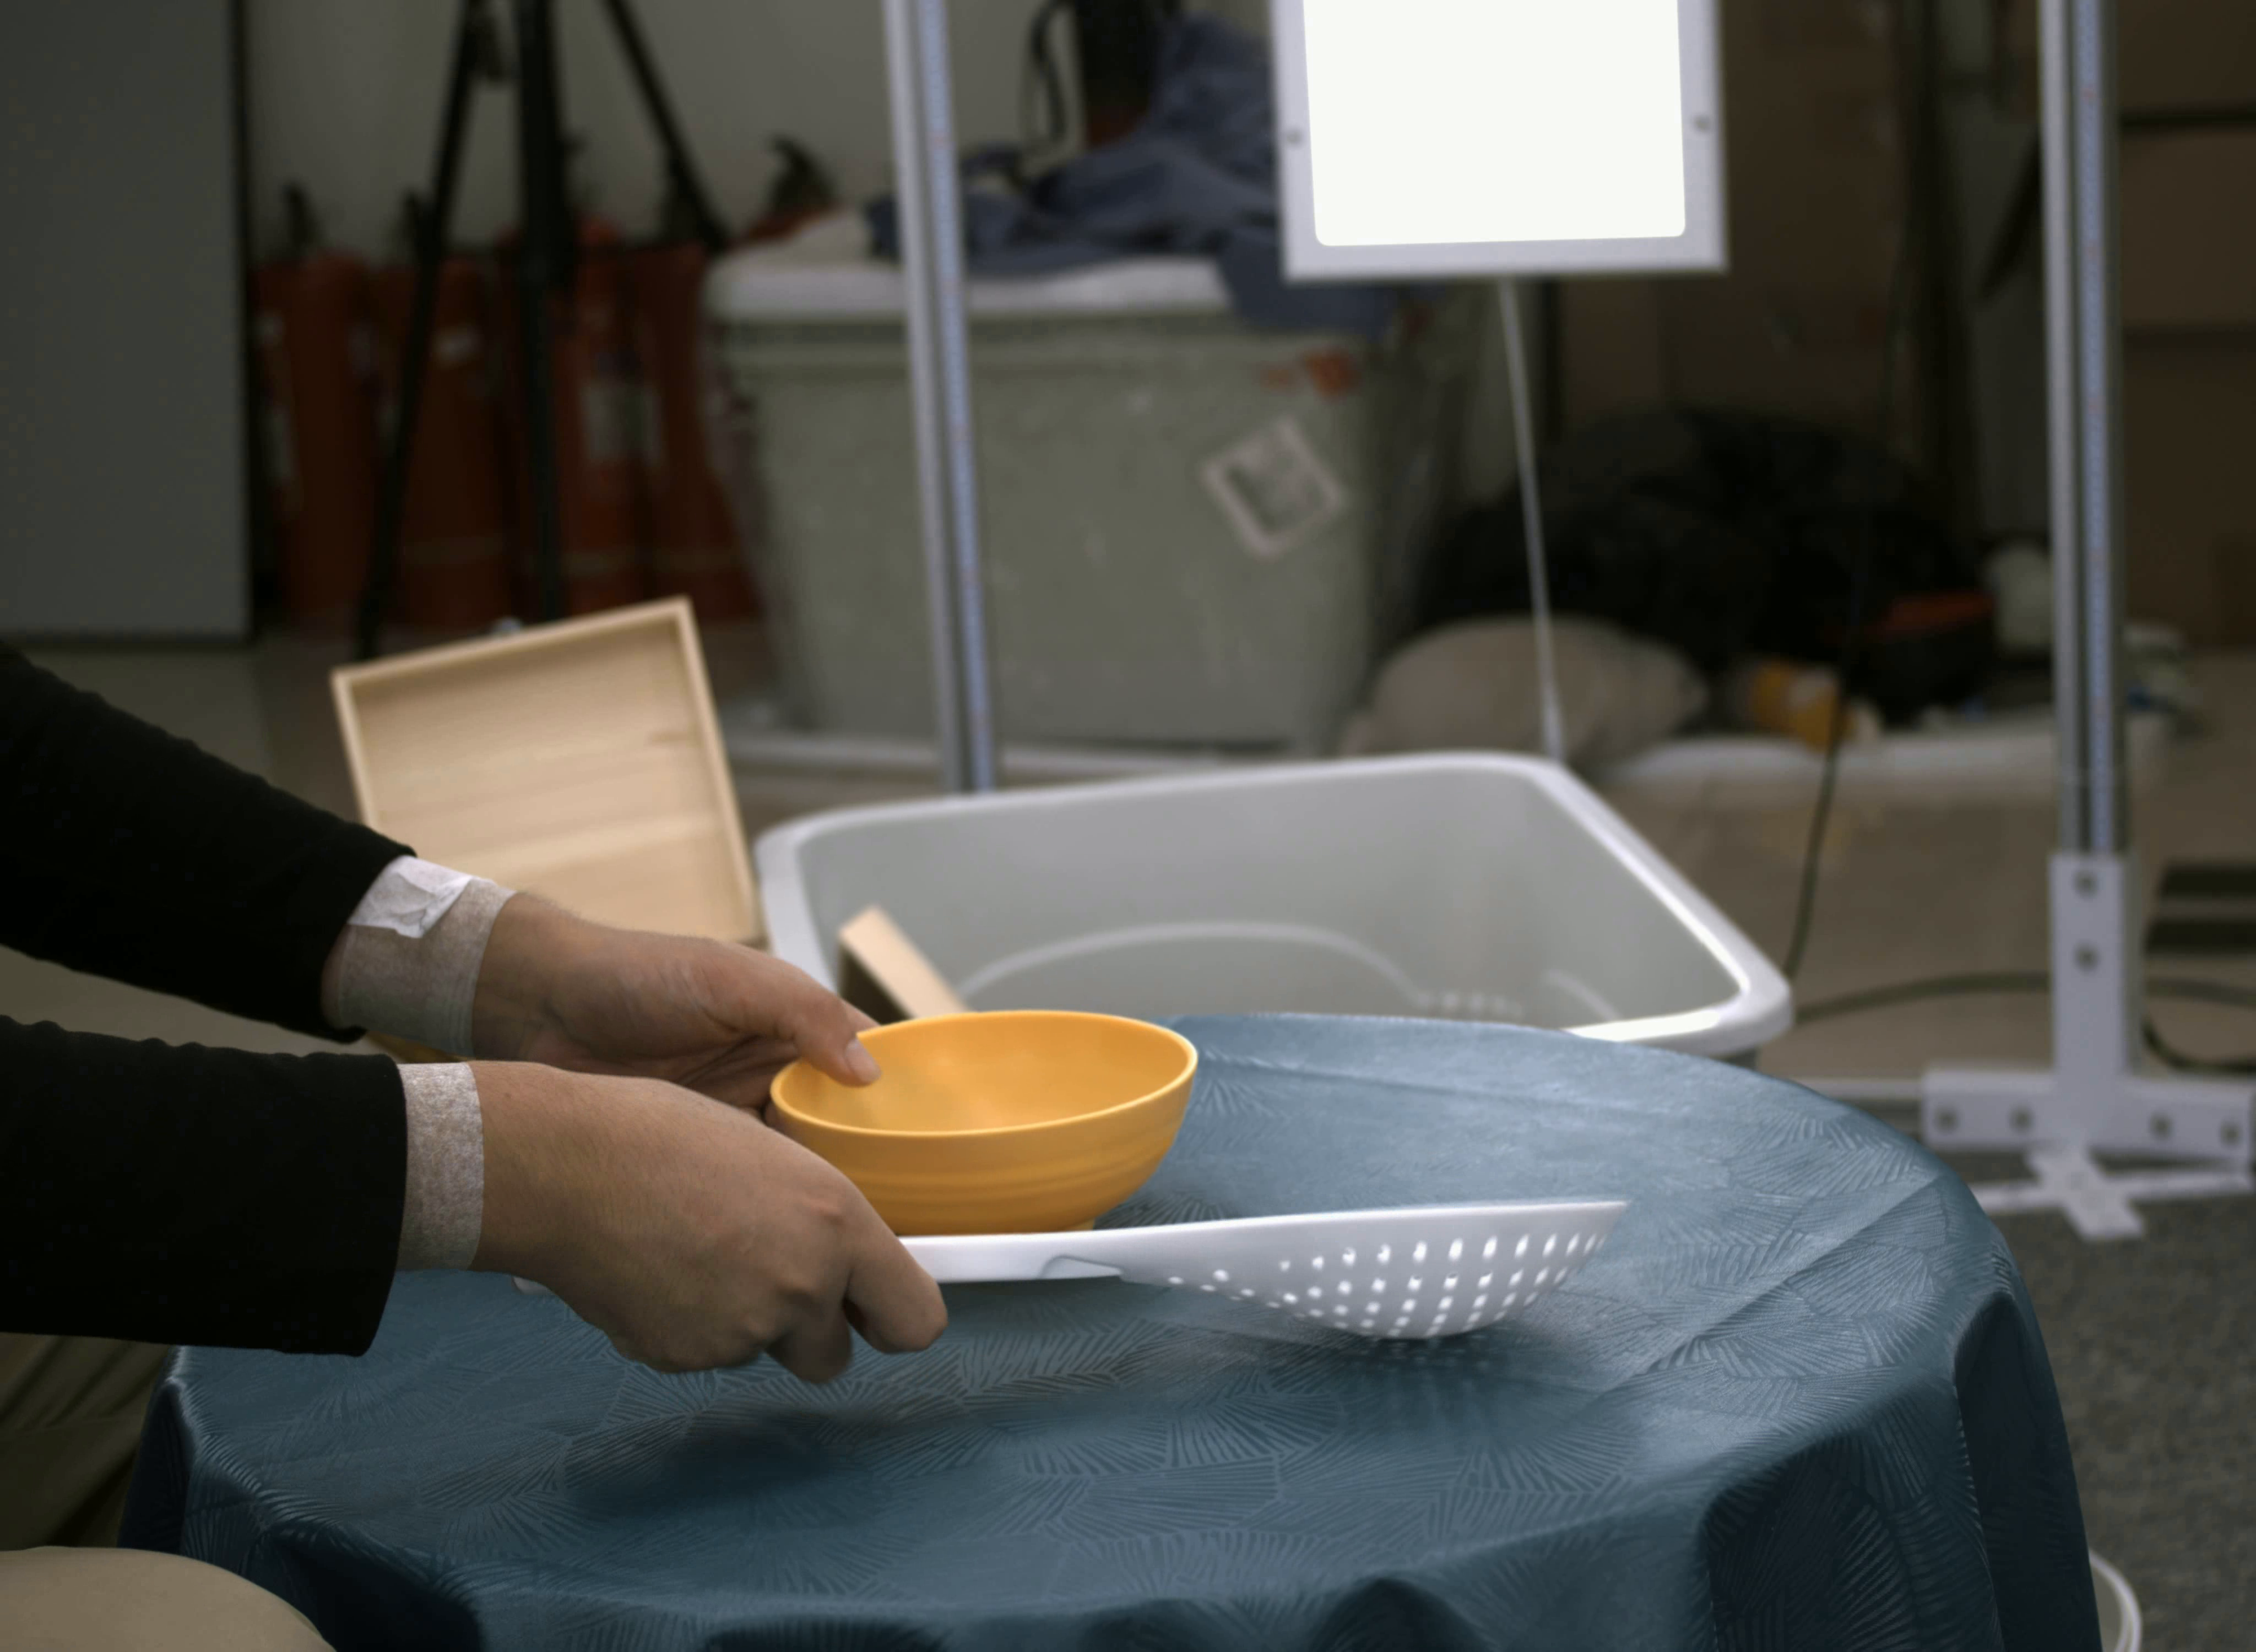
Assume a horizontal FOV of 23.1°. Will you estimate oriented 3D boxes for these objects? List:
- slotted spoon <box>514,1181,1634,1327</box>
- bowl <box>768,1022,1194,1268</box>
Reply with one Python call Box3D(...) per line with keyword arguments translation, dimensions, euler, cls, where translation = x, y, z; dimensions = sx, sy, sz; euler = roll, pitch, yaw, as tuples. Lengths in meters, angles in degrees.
Box3D(translation=(-0.014, 0.131, 1.704), dimensions=(0.347, 0.046, 0.137), euler=(1, -7, -7), cls="slotted spoon")
Box3D(translation=(-0.048, 0.111, 1.859), dimensions=(0.145, 0.060, 0.145), euler=(-3, 12, -1), cls="bowl")
